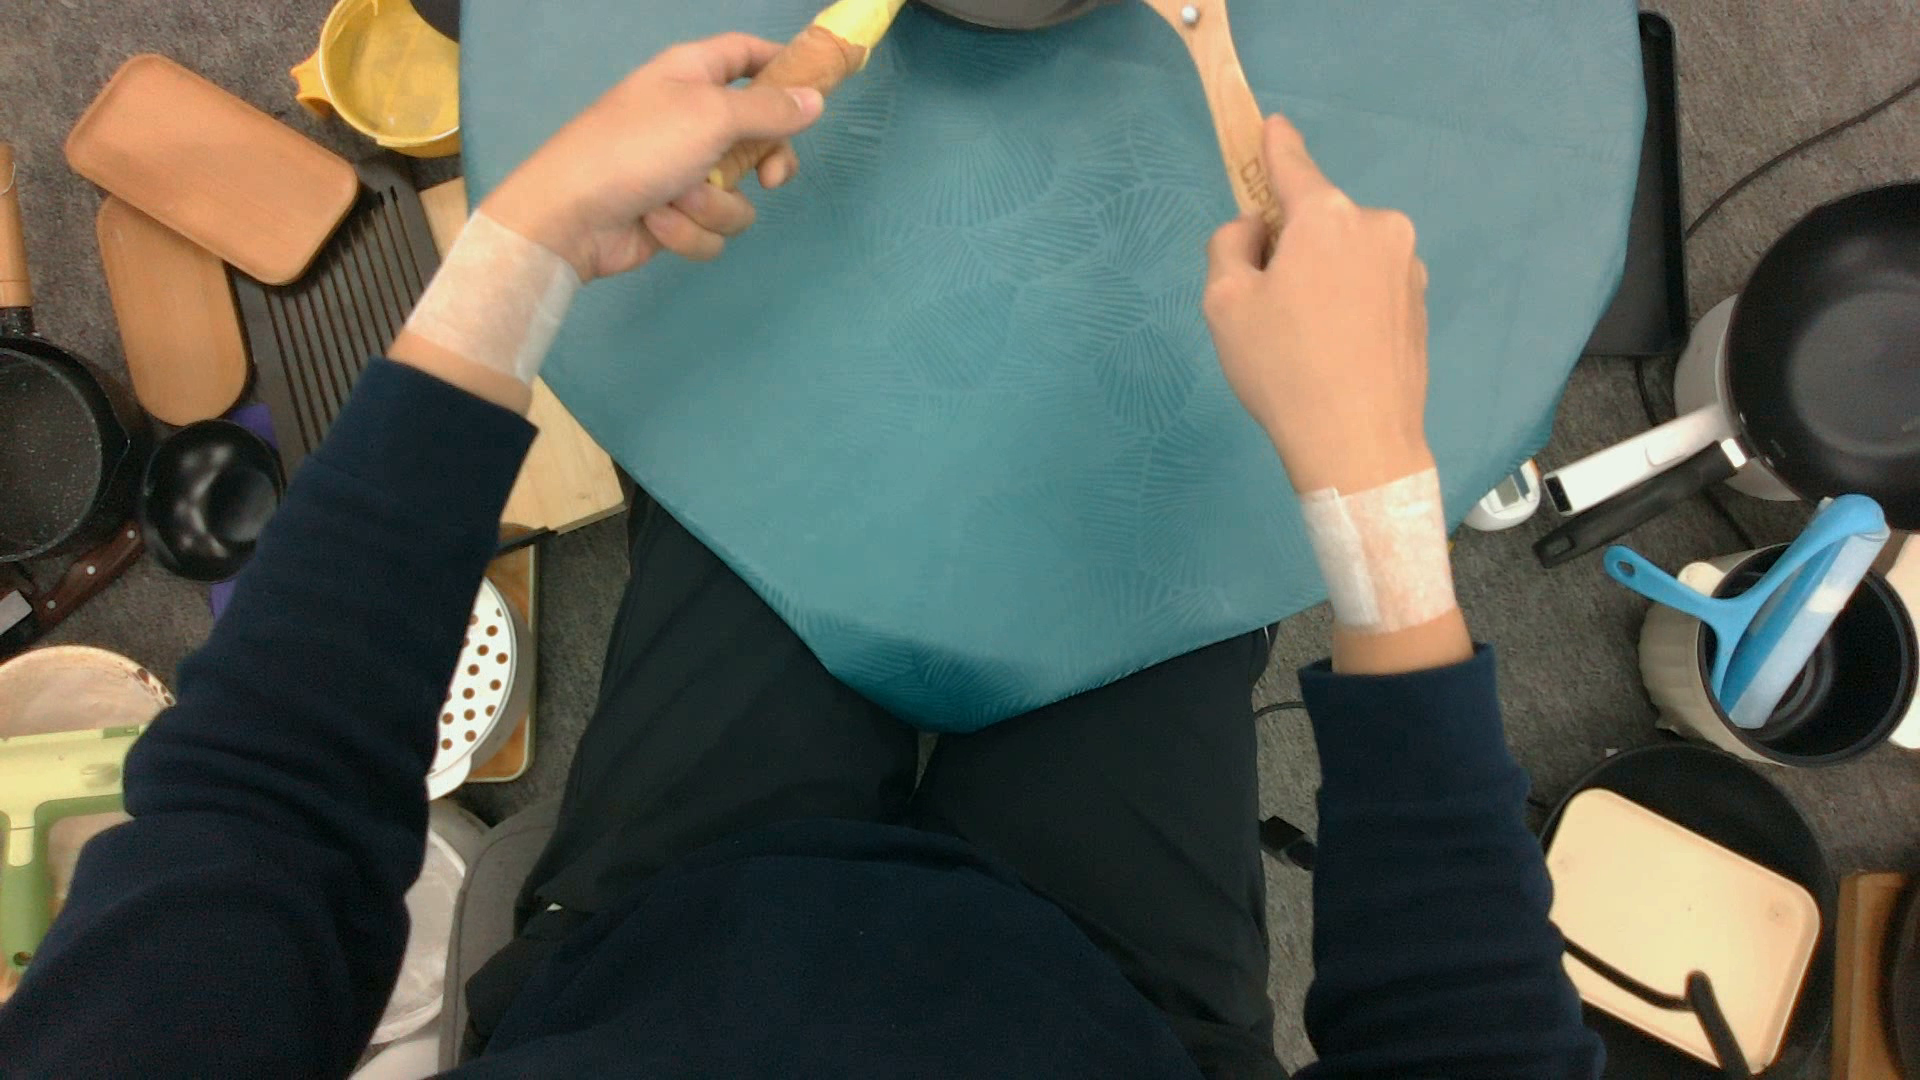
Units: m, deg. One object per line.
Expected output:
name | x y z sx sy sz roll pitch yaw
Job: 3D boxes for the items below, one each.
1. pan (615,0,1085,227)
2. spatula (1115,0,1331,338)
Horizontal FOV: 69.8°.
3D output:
pan | -0.051 -0.253 0.630 0.169 0.049 0.325 40 69 -5
spatula | 0.095 -0.221 0.609 0.079 0.016 0.328 -36 55 34
